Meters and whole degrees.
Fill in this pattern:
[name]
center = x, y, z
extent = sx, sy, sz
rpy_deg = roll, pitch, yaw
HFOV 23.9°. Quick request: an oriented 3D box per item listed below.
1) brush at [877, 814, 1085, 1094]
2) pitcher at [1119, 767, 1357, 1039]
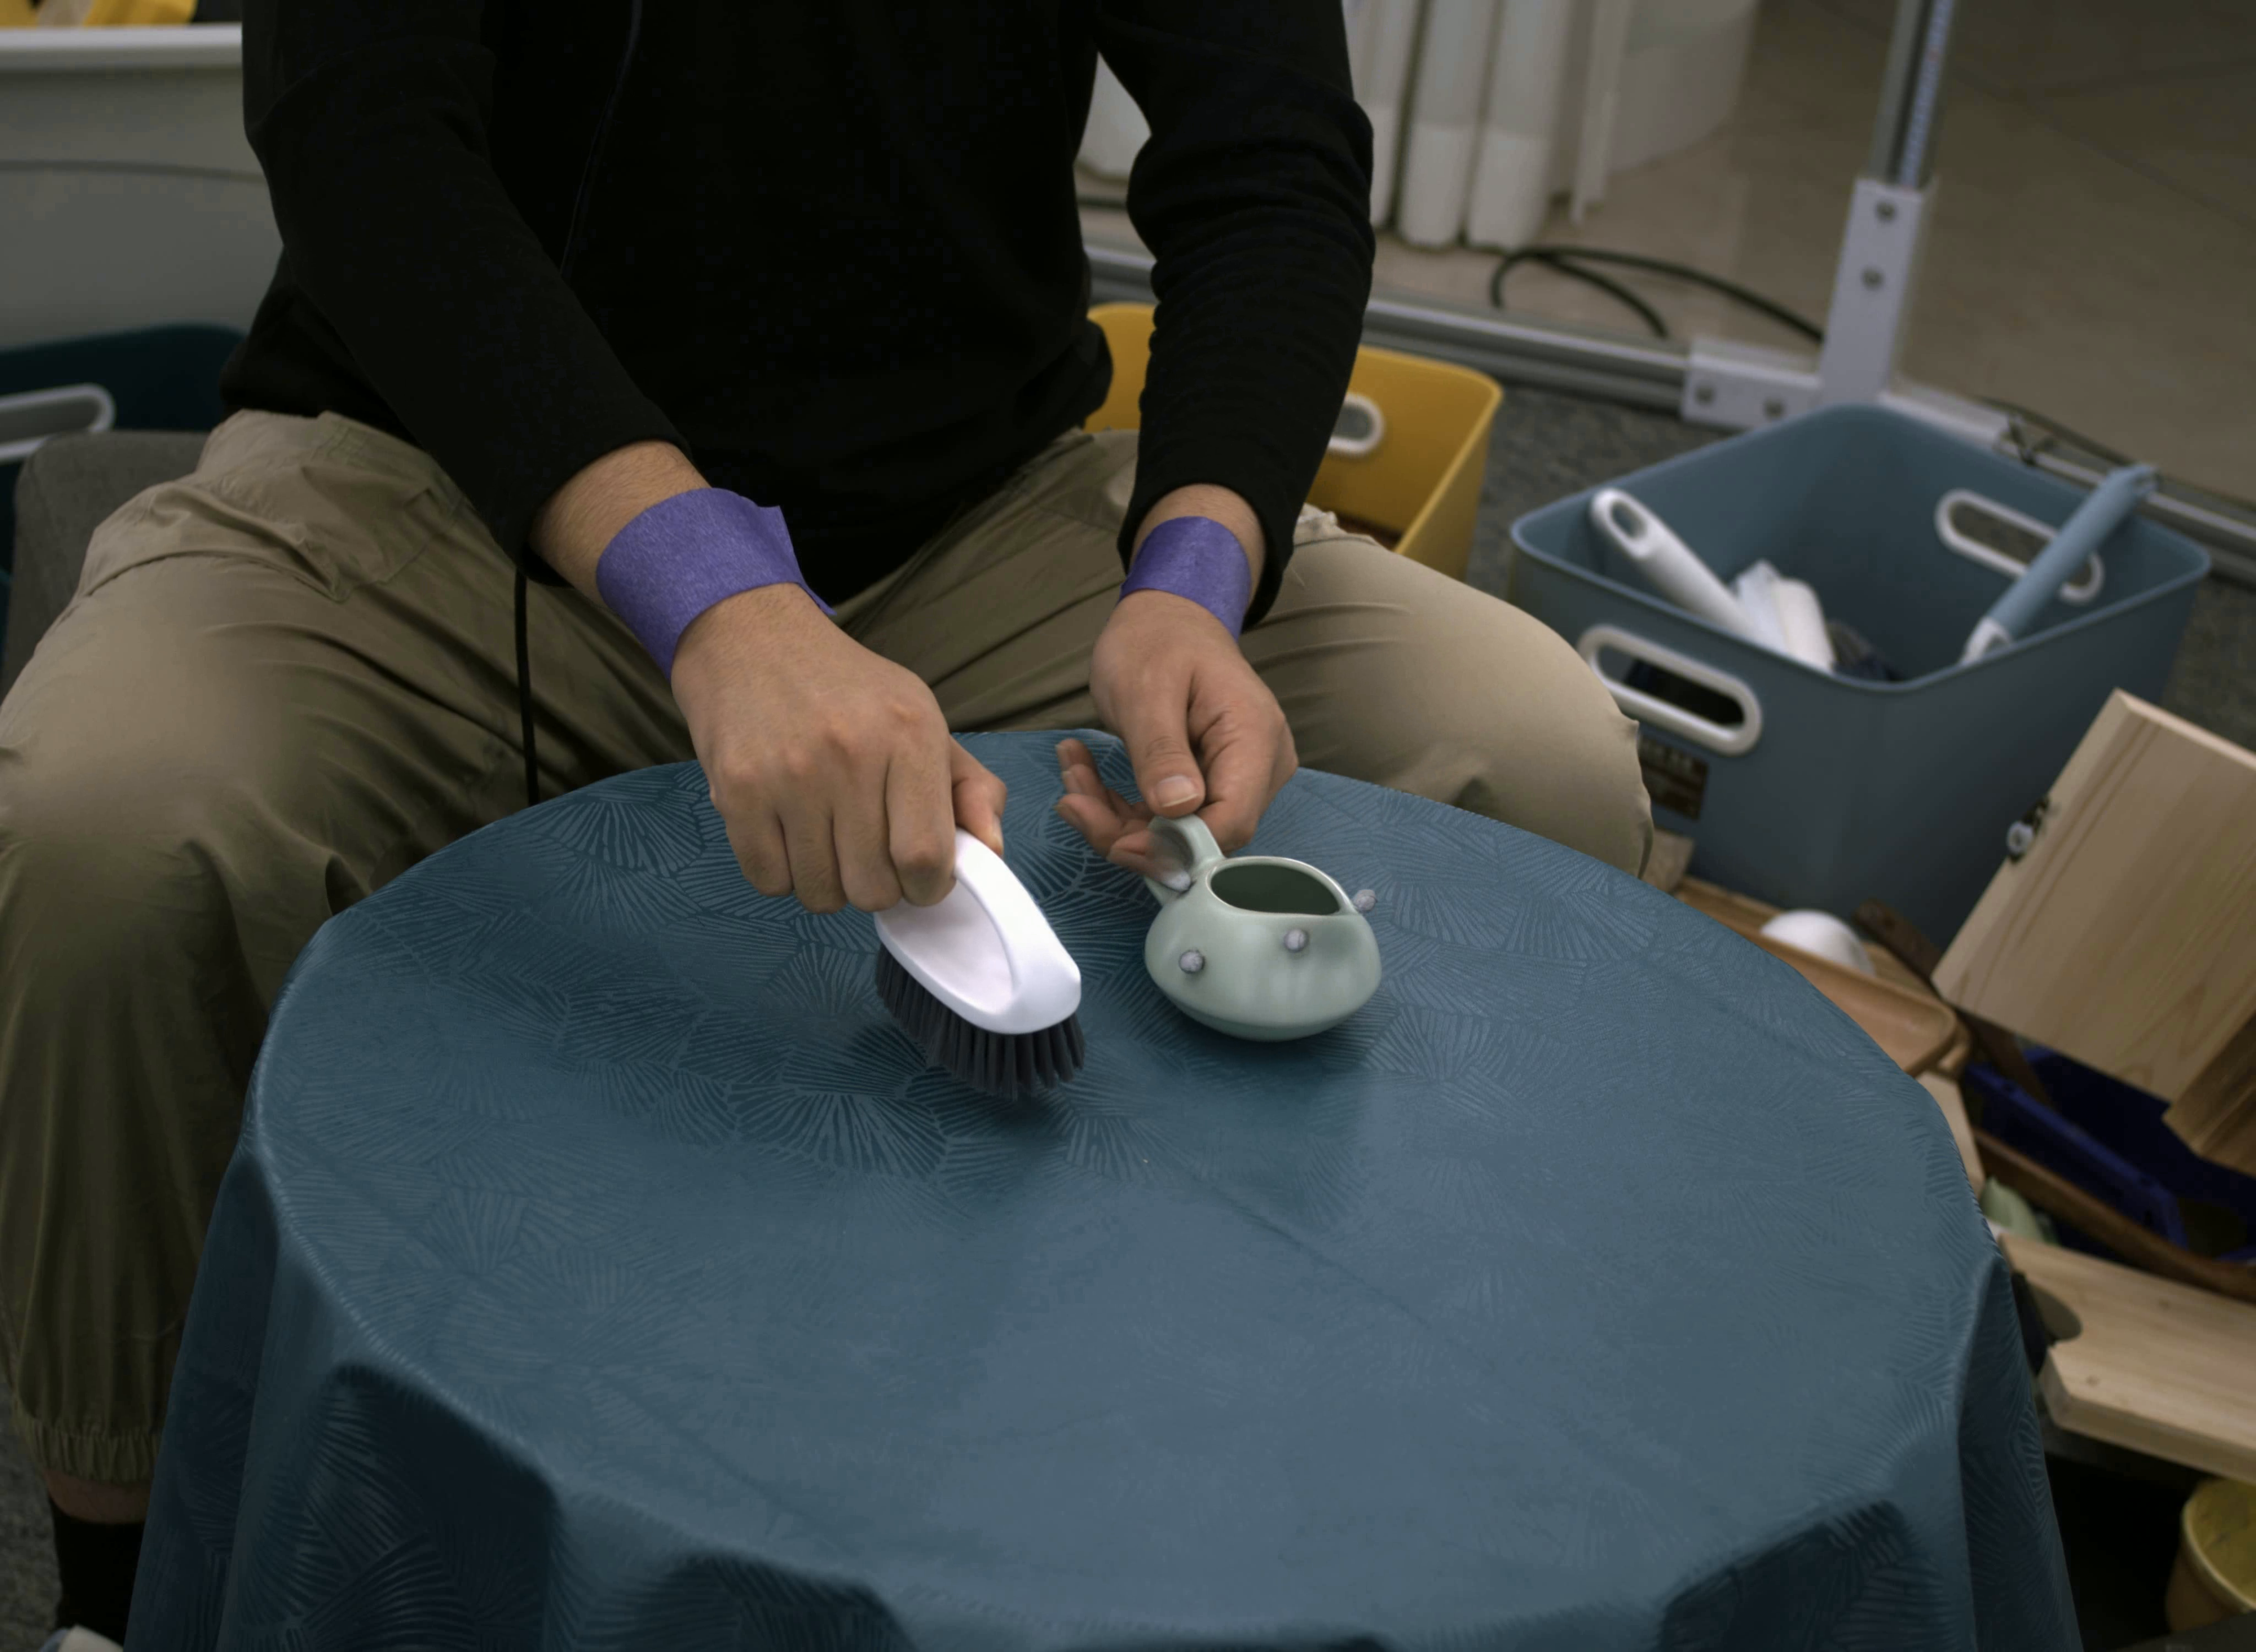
[brush]
center = -0.053, 0.037, 1.838
extent = 0.050, 0.072, 0.100
rpy_deg = -19, 38, -22
[pitcher]
center = 0.035, 0.029, 1.924
extent = 0.085, 0.060, 0.109
rpy_deg = -17, 50, -20
